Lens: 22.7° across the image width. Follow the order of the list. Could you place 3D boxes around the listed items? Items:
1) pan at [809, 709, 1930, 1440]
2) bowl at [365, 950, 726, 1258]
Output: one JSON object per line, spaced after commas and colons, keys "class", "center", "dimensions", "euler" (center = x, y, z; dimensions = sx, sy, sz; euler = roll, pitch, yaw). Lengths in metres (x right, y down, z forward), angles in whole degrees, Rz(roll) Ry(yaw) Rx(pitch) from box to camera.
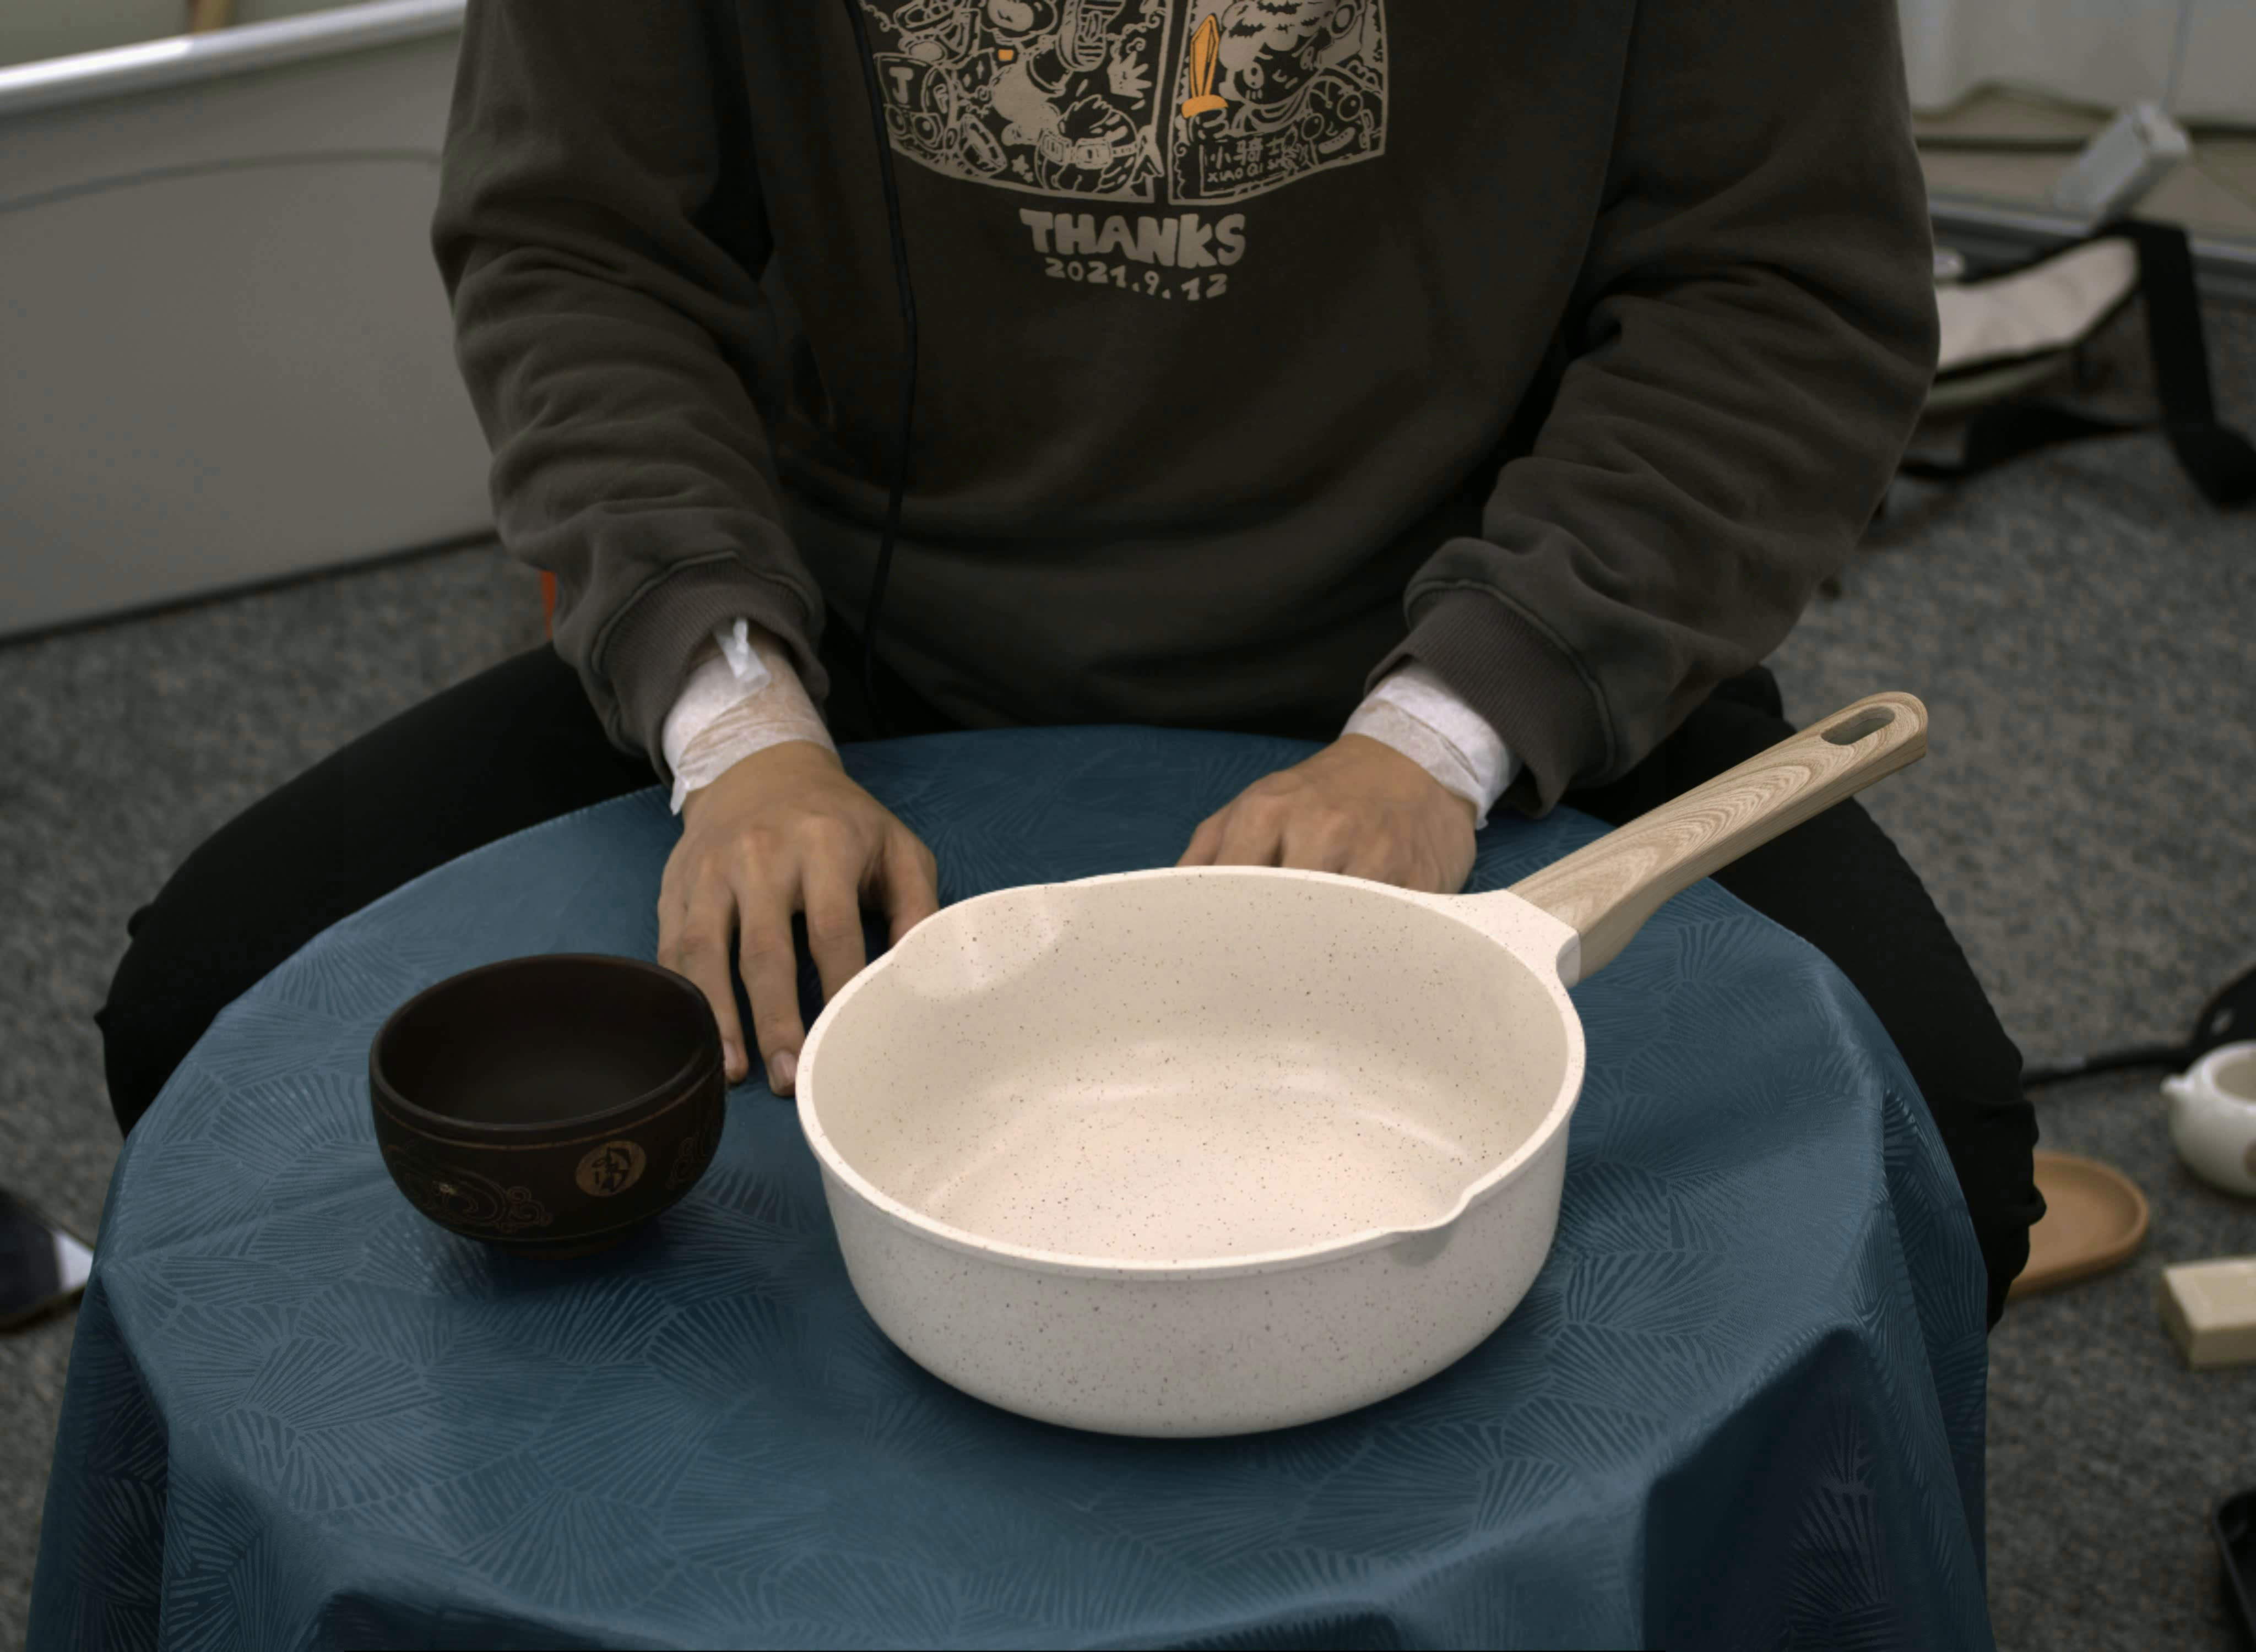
{"class": "pan", "center": [0.100, 0.074, 1.837], "dimensions": [0.438, 0.101, 0.263], "euler": [-21, 30, -31]}
{"class": "bowl", "center": [-0.189, 0.098, 1.847], "dimensions": [0.117, 0.069, 0.120], "euler": [-3, 26, 2]}
